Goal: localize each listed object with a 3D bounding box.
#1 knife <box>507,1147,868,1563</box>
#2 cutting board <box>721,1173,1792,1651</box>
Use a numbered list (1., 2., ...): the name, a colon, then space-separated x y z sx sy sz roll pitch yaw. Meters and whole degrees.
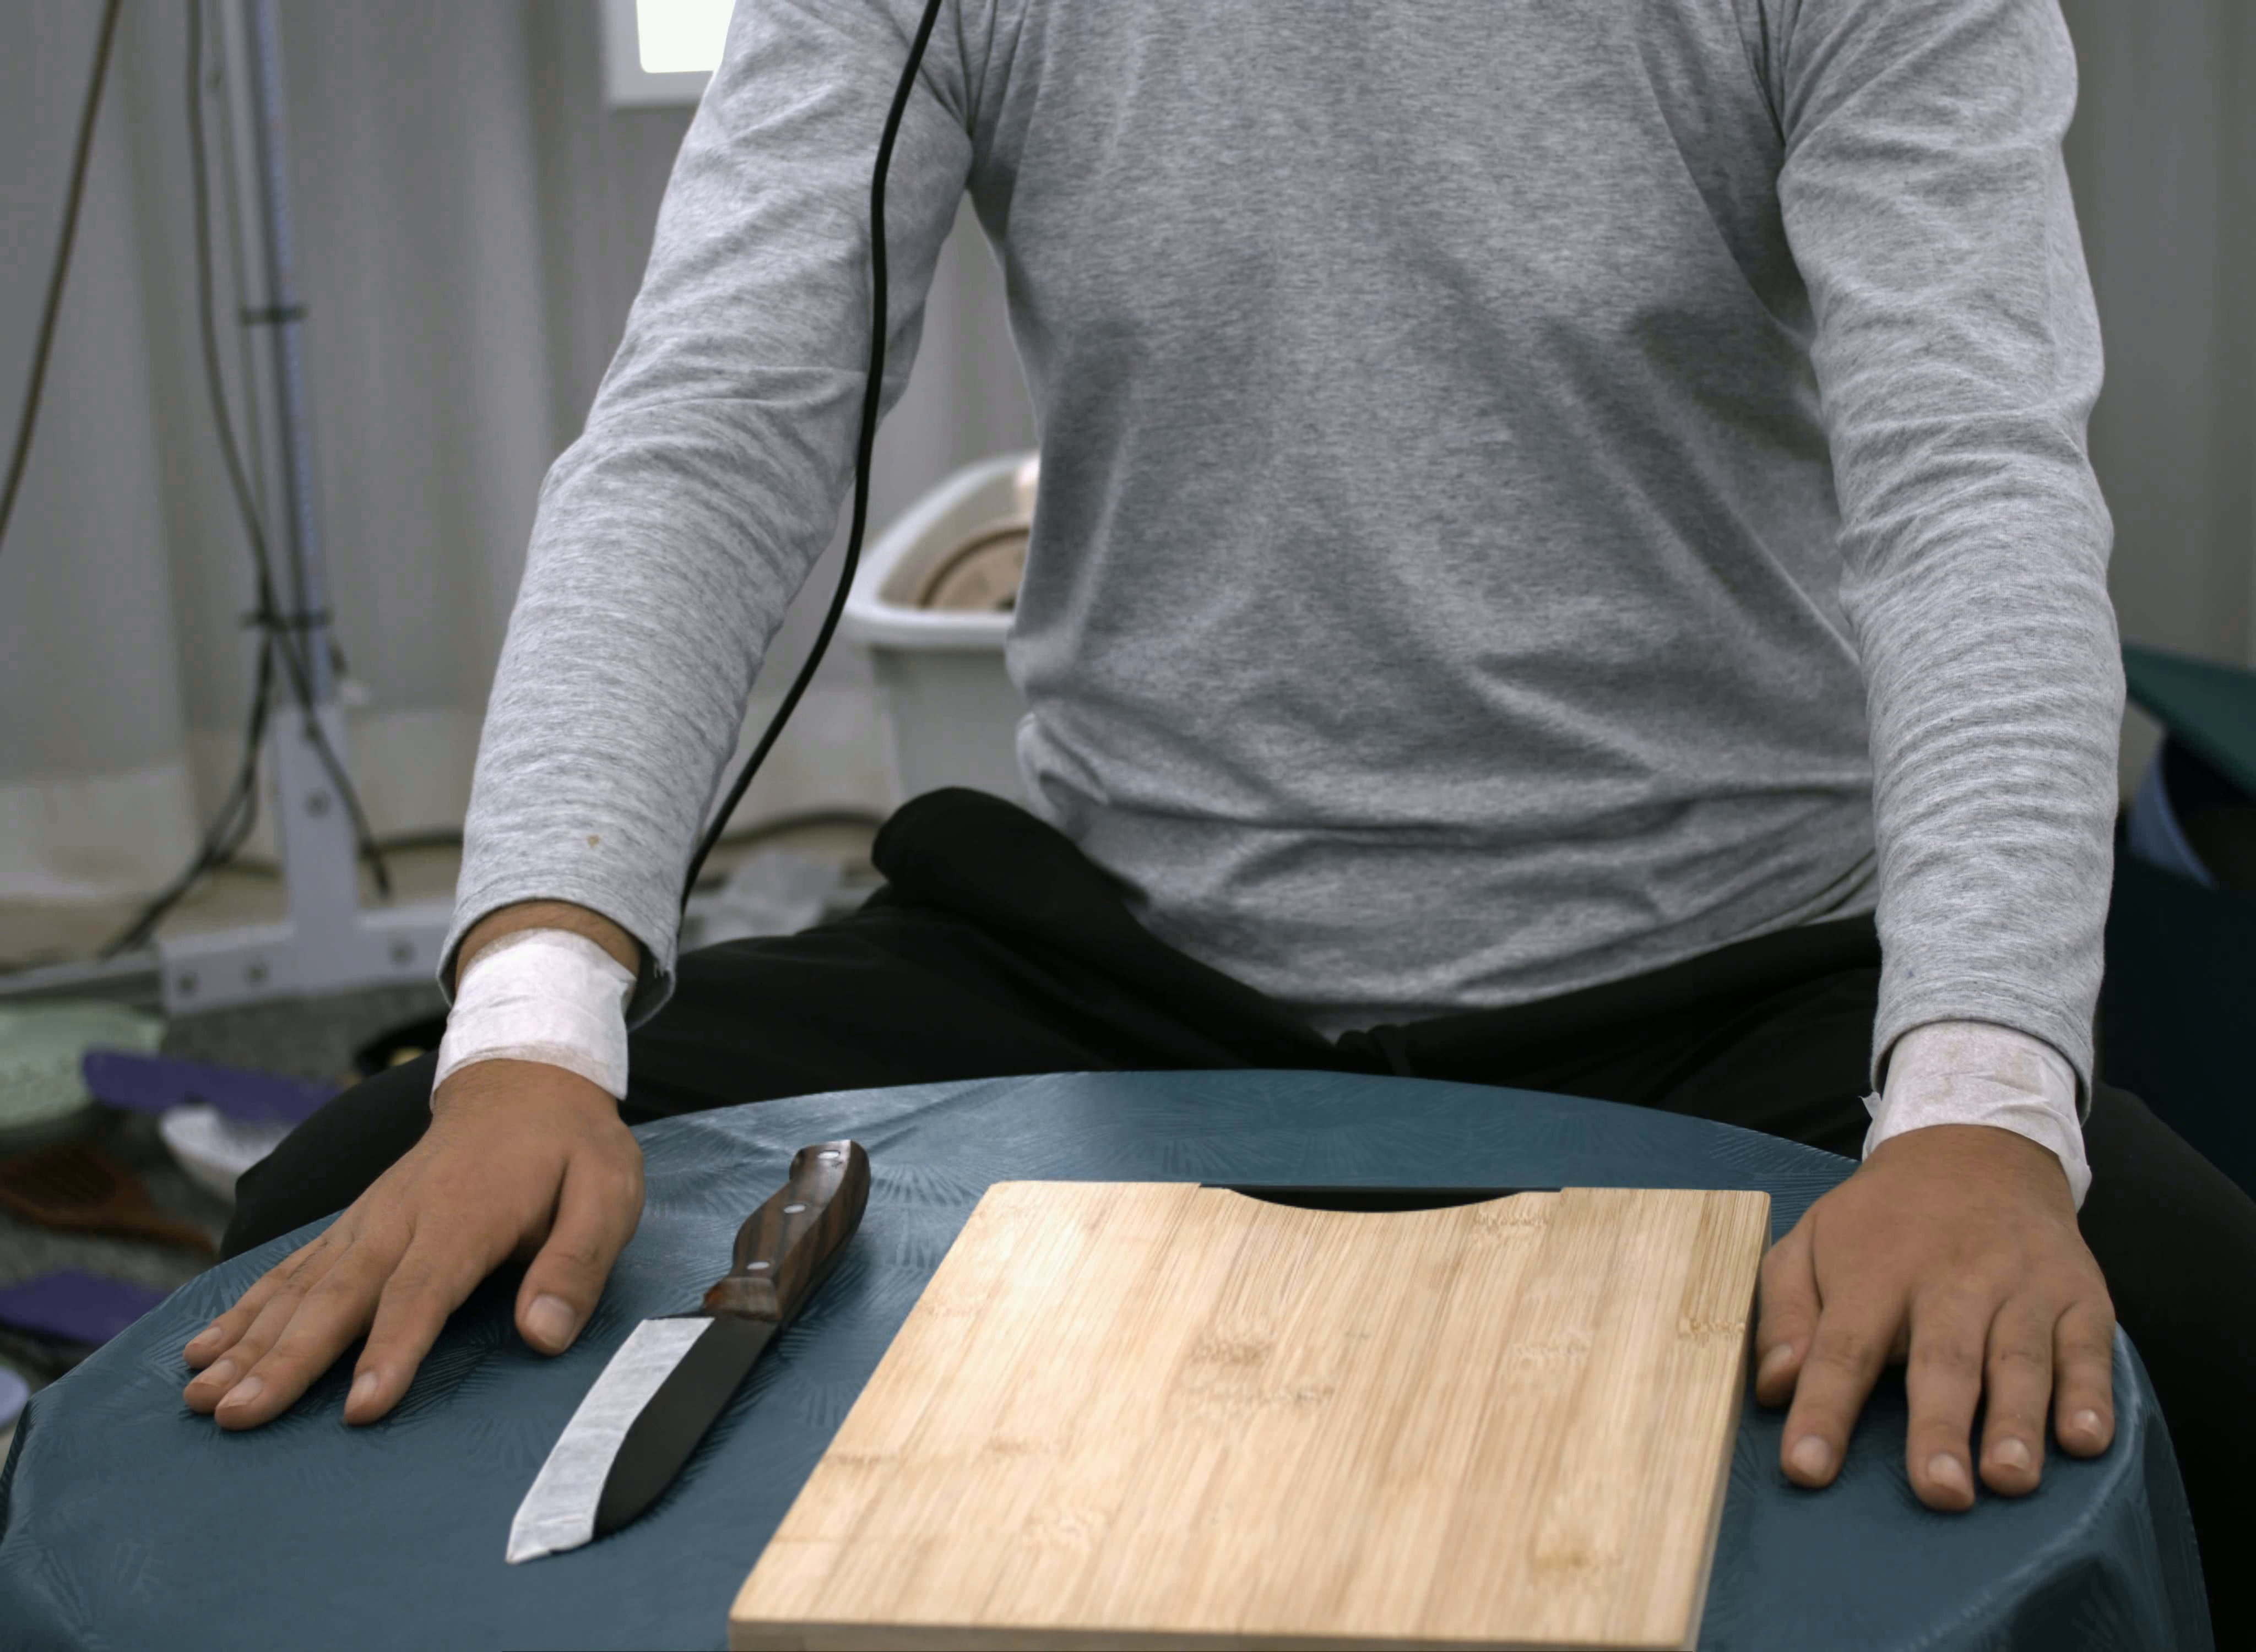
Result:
1. knife: -0.124 0.151 1.575 0.050 0.020 0.290 -4 16 16
2. cutting board: 0.048 0.161 1.503 0.250 0.023 0.350 0 15 10
